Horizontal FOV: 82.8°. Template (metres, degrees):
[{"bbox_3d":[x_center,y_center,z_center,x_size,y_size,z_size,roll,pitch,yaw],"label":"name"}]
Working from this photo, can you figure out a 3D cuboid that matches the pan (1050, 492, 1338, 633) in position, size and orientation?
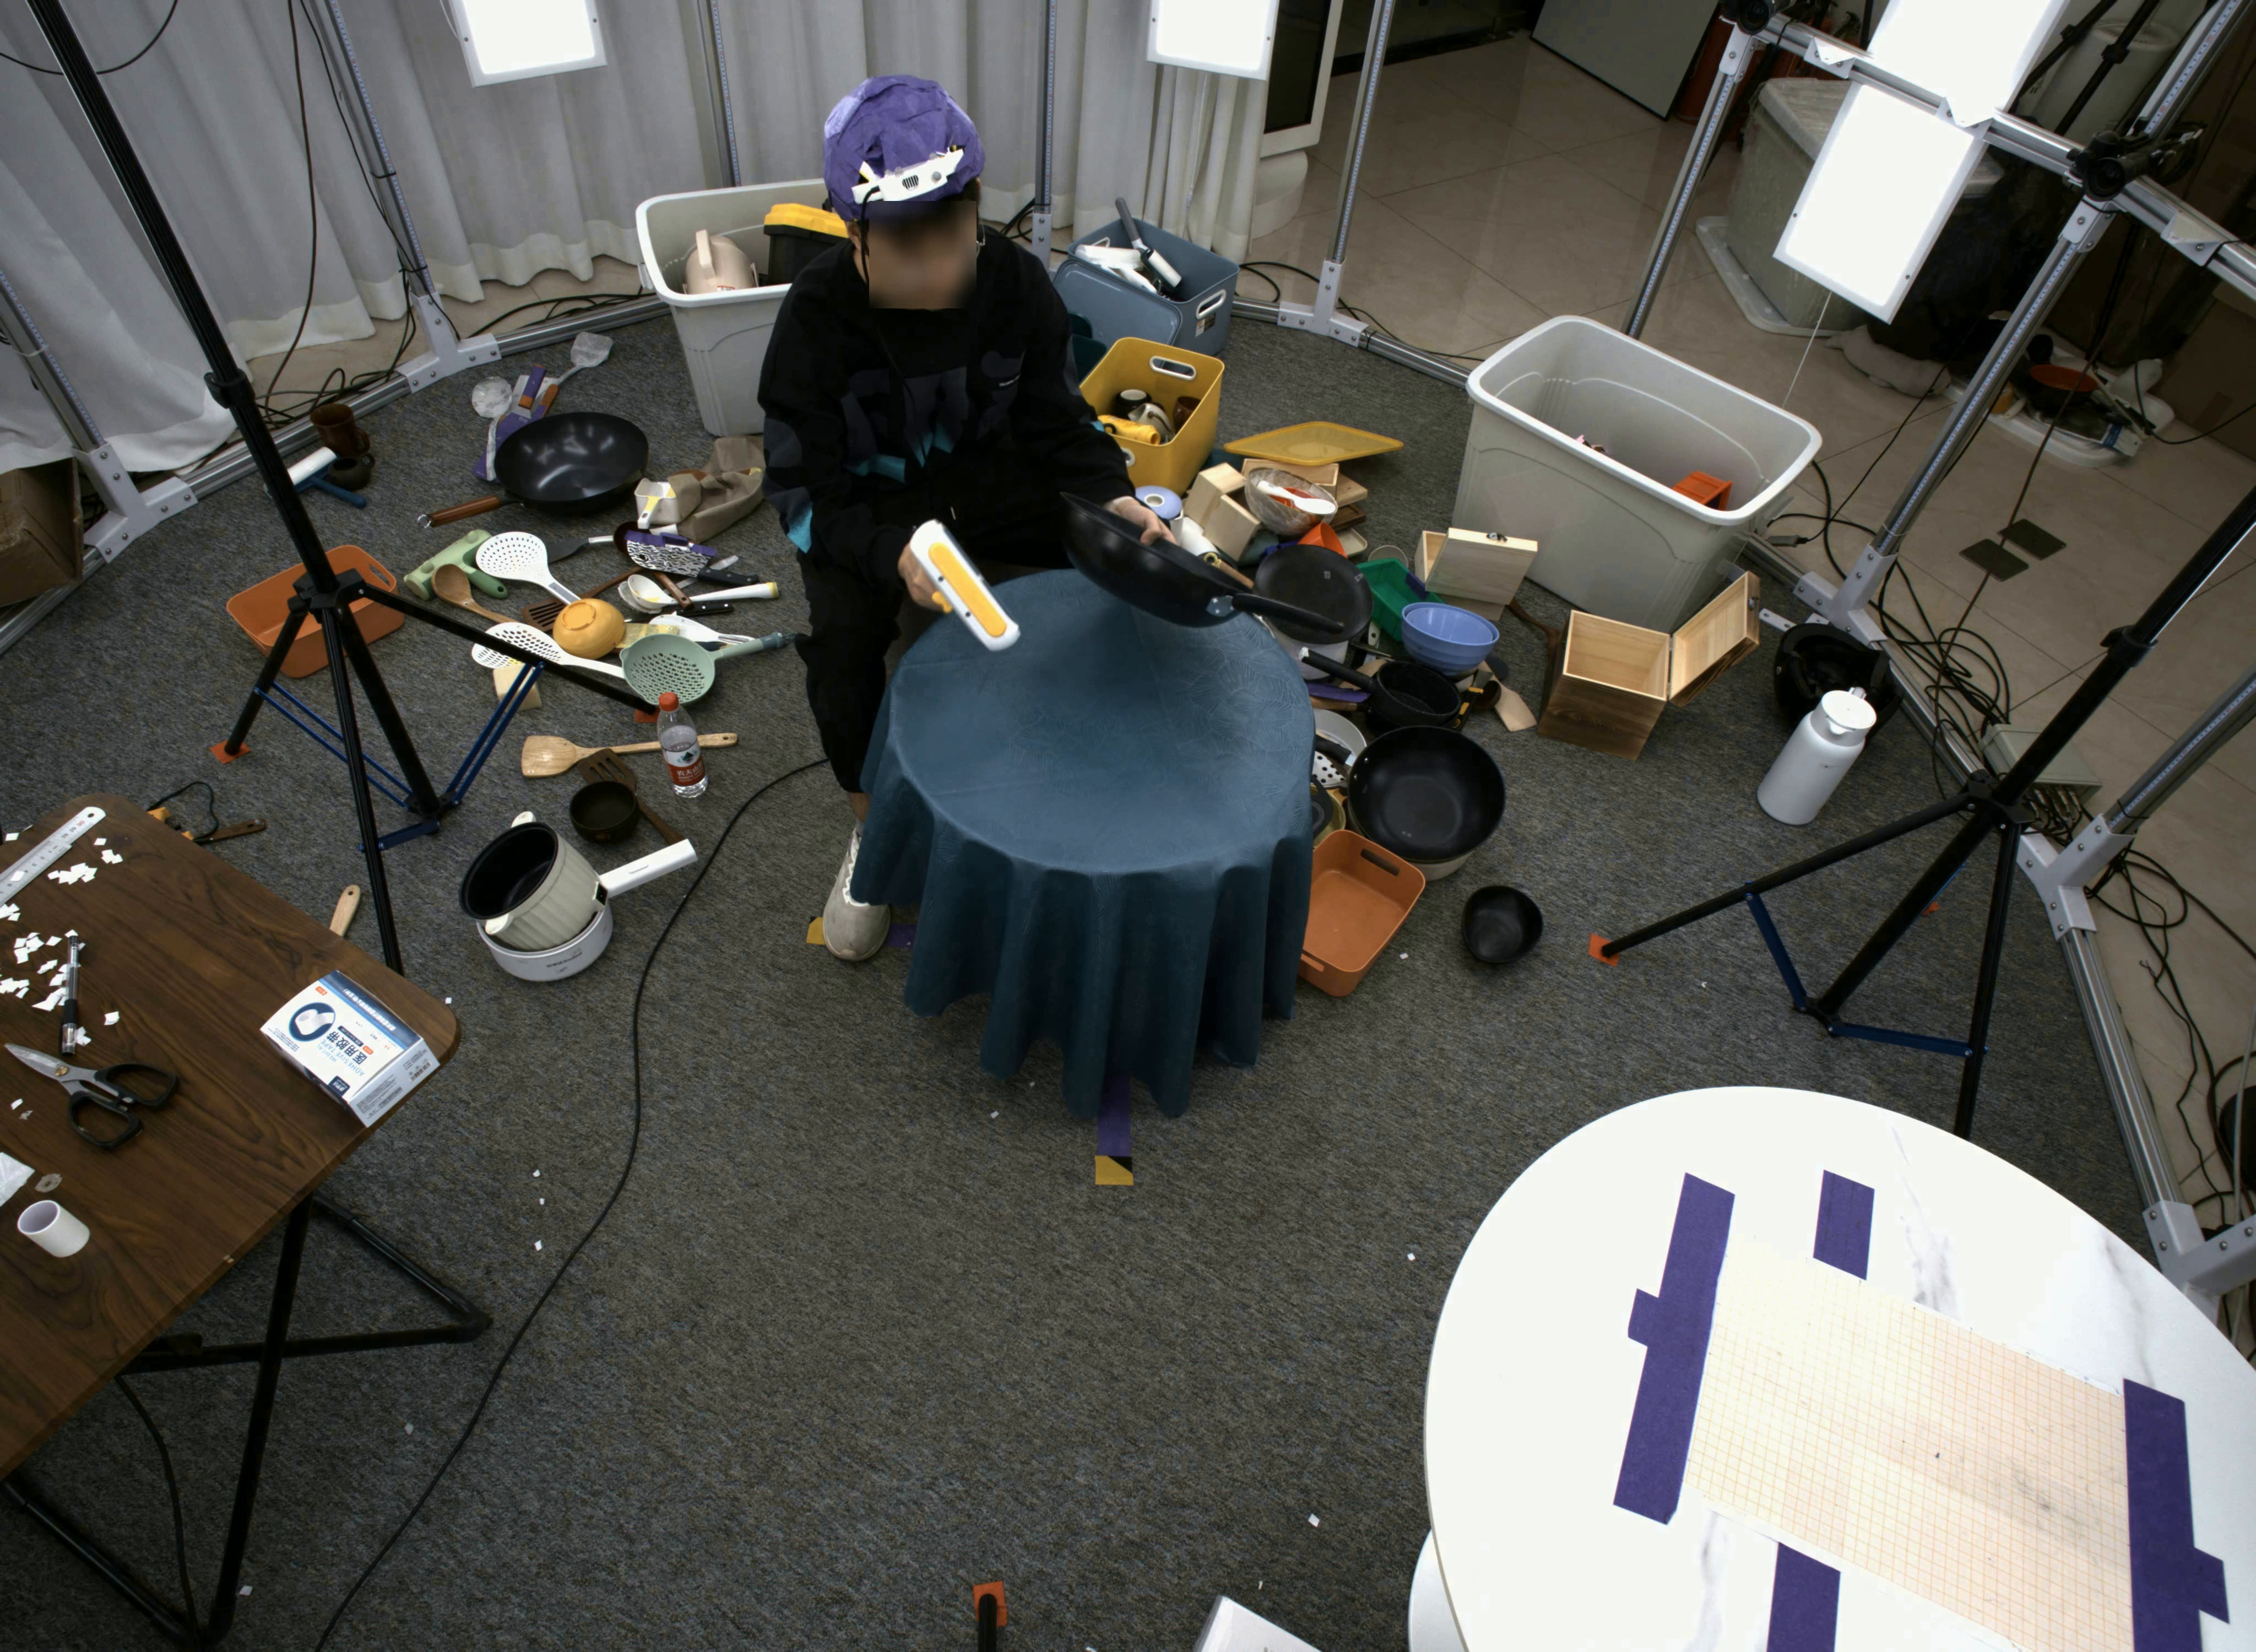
[{"bbox_3d":[0.078,-0.319,1.718,0.308,0.110,0.485,6,25,-49],"label":"pan"}]

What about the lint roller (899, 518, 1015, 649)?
[{"bbox_3d":[-0.236,-0.321,1.732,0.074,0.191,0.194,-43,15,0],"label":"lint roller"}]
